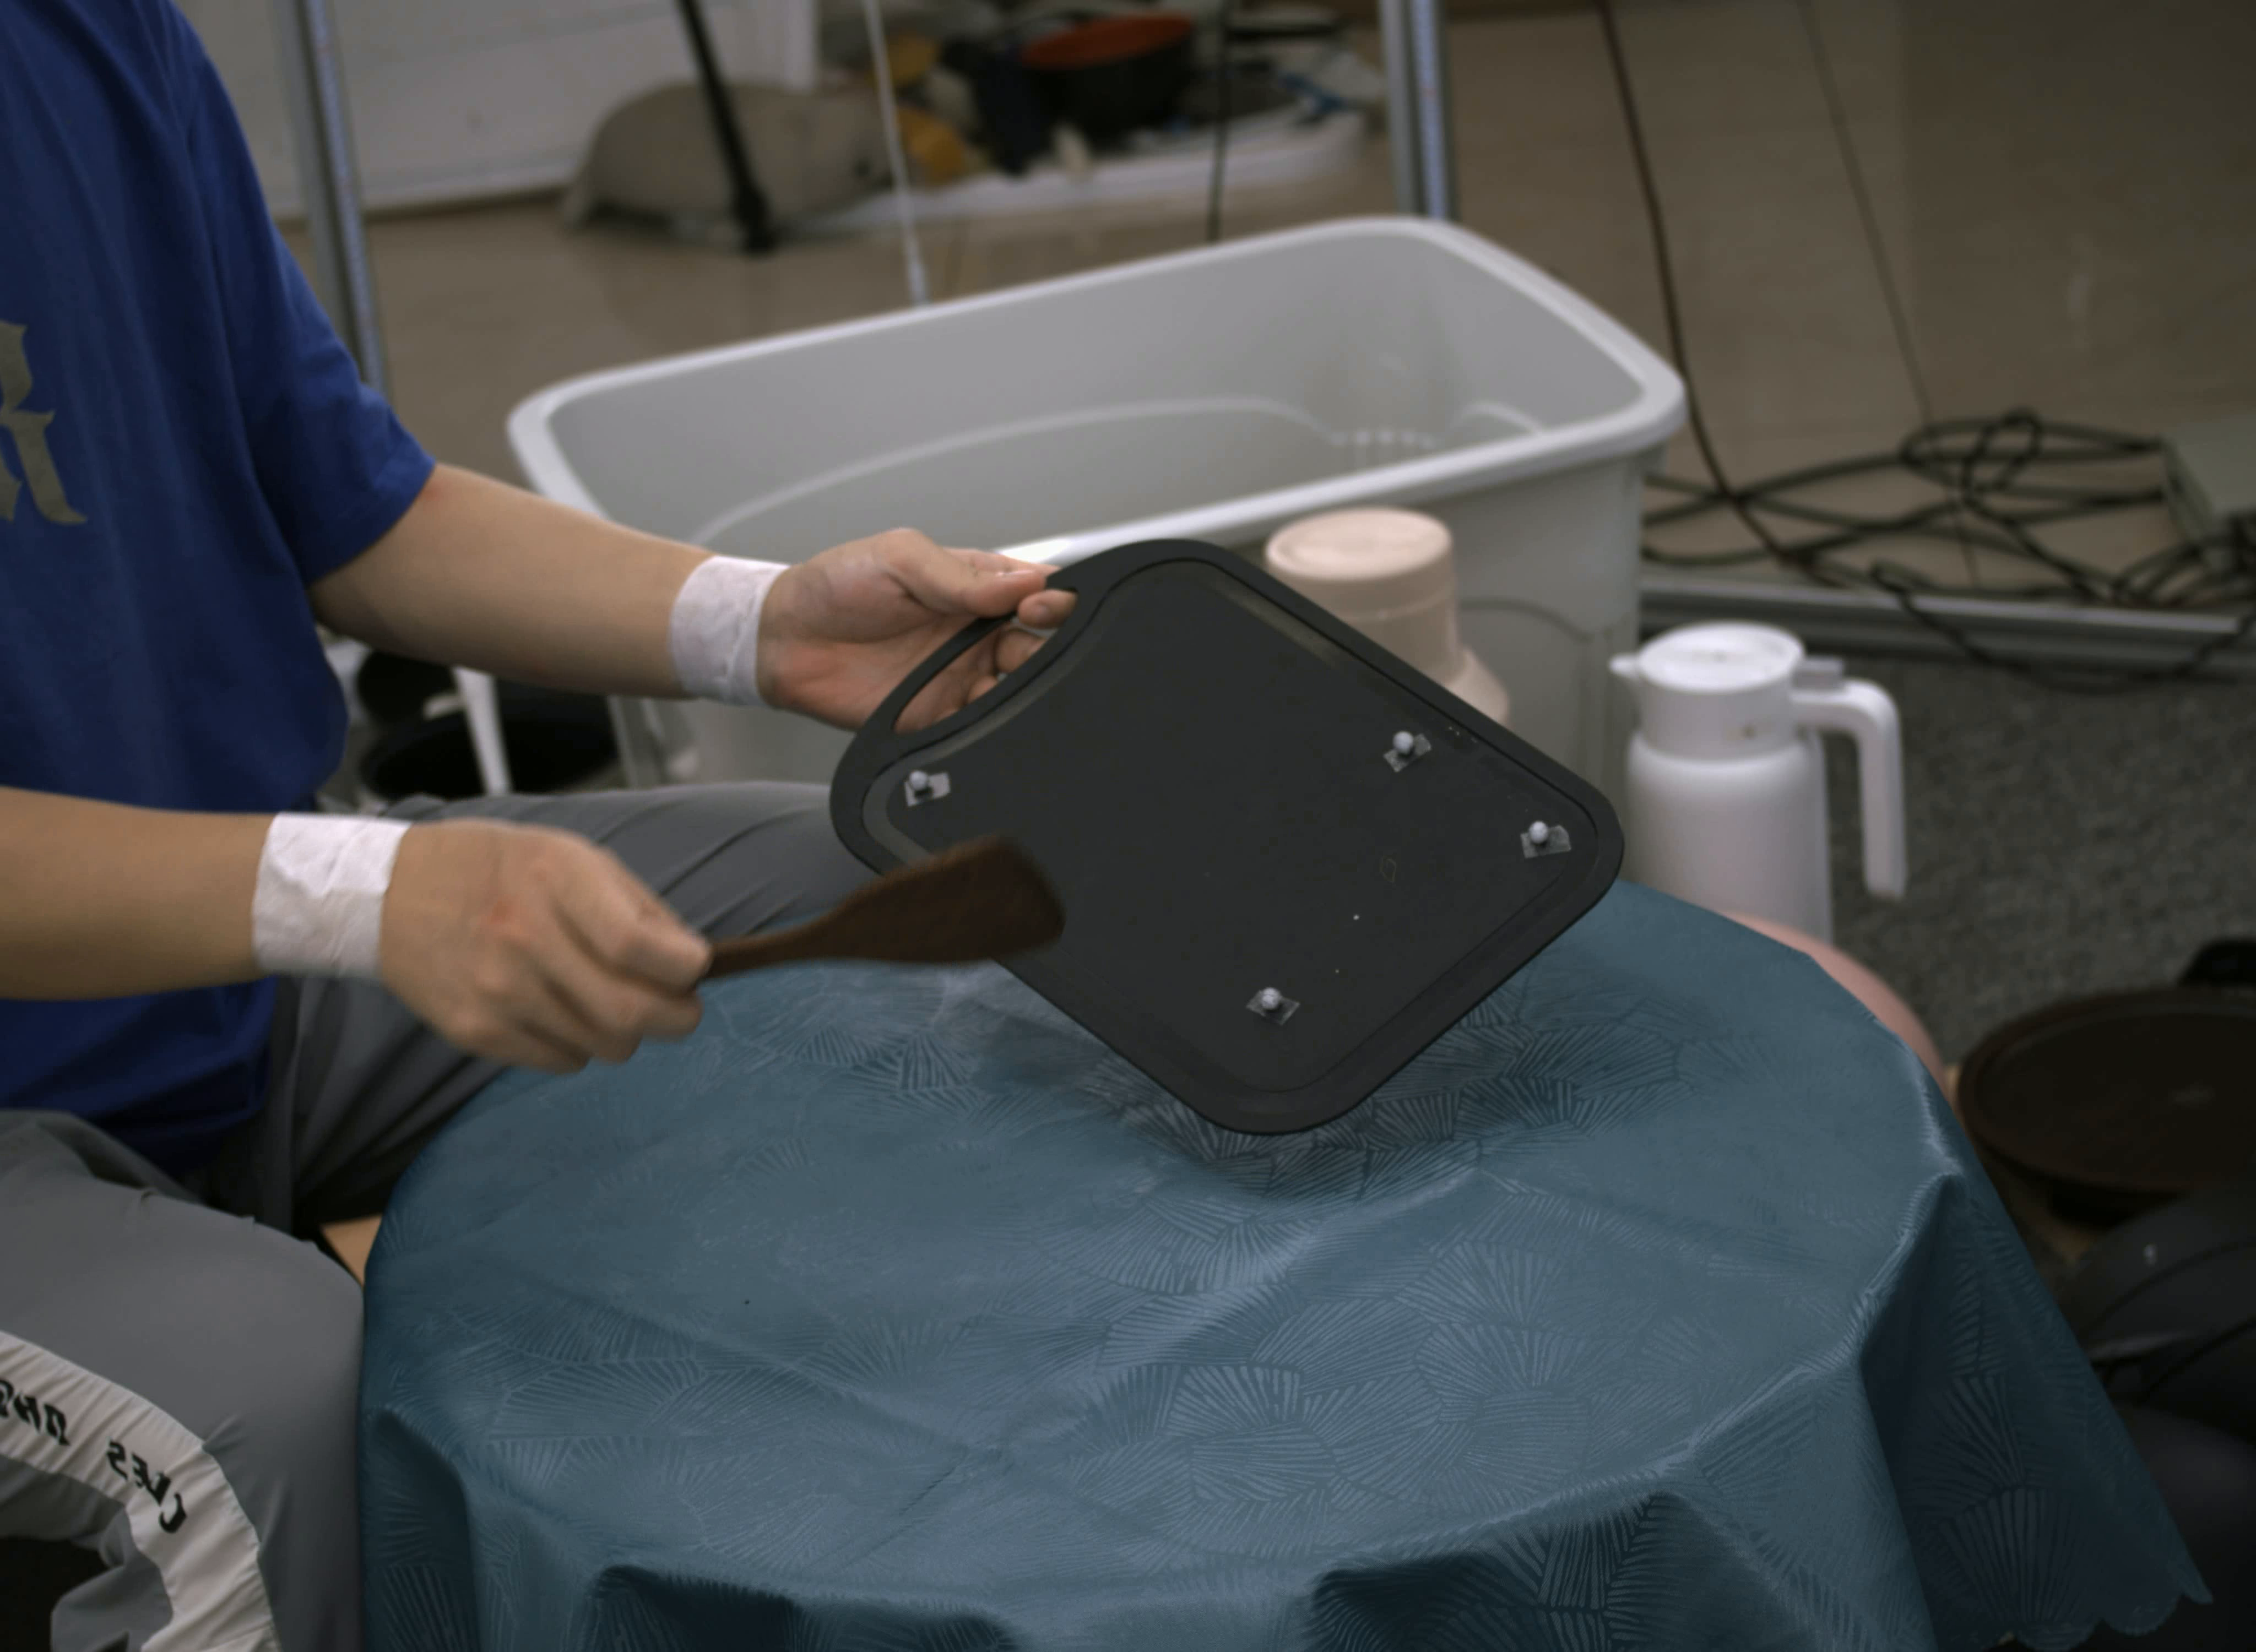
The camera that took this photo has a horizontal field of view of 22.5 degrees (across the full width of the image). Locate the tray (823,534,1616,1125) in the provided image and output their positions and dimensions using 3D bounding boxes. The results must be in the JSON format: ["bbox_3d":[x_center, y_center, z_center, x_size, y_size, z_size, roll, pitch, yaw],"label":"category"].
[{"bbox_3d":[0.026,-0.008,2.241,0.209,0.010,0.321,-39,49,-18],"label":"tray"}]

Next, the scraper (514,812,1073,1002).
[{"bbox_3d":[-0.125,0.036,2.065,0.211,0.077,0.010,-13,57,17],"label":"scraper"}]
